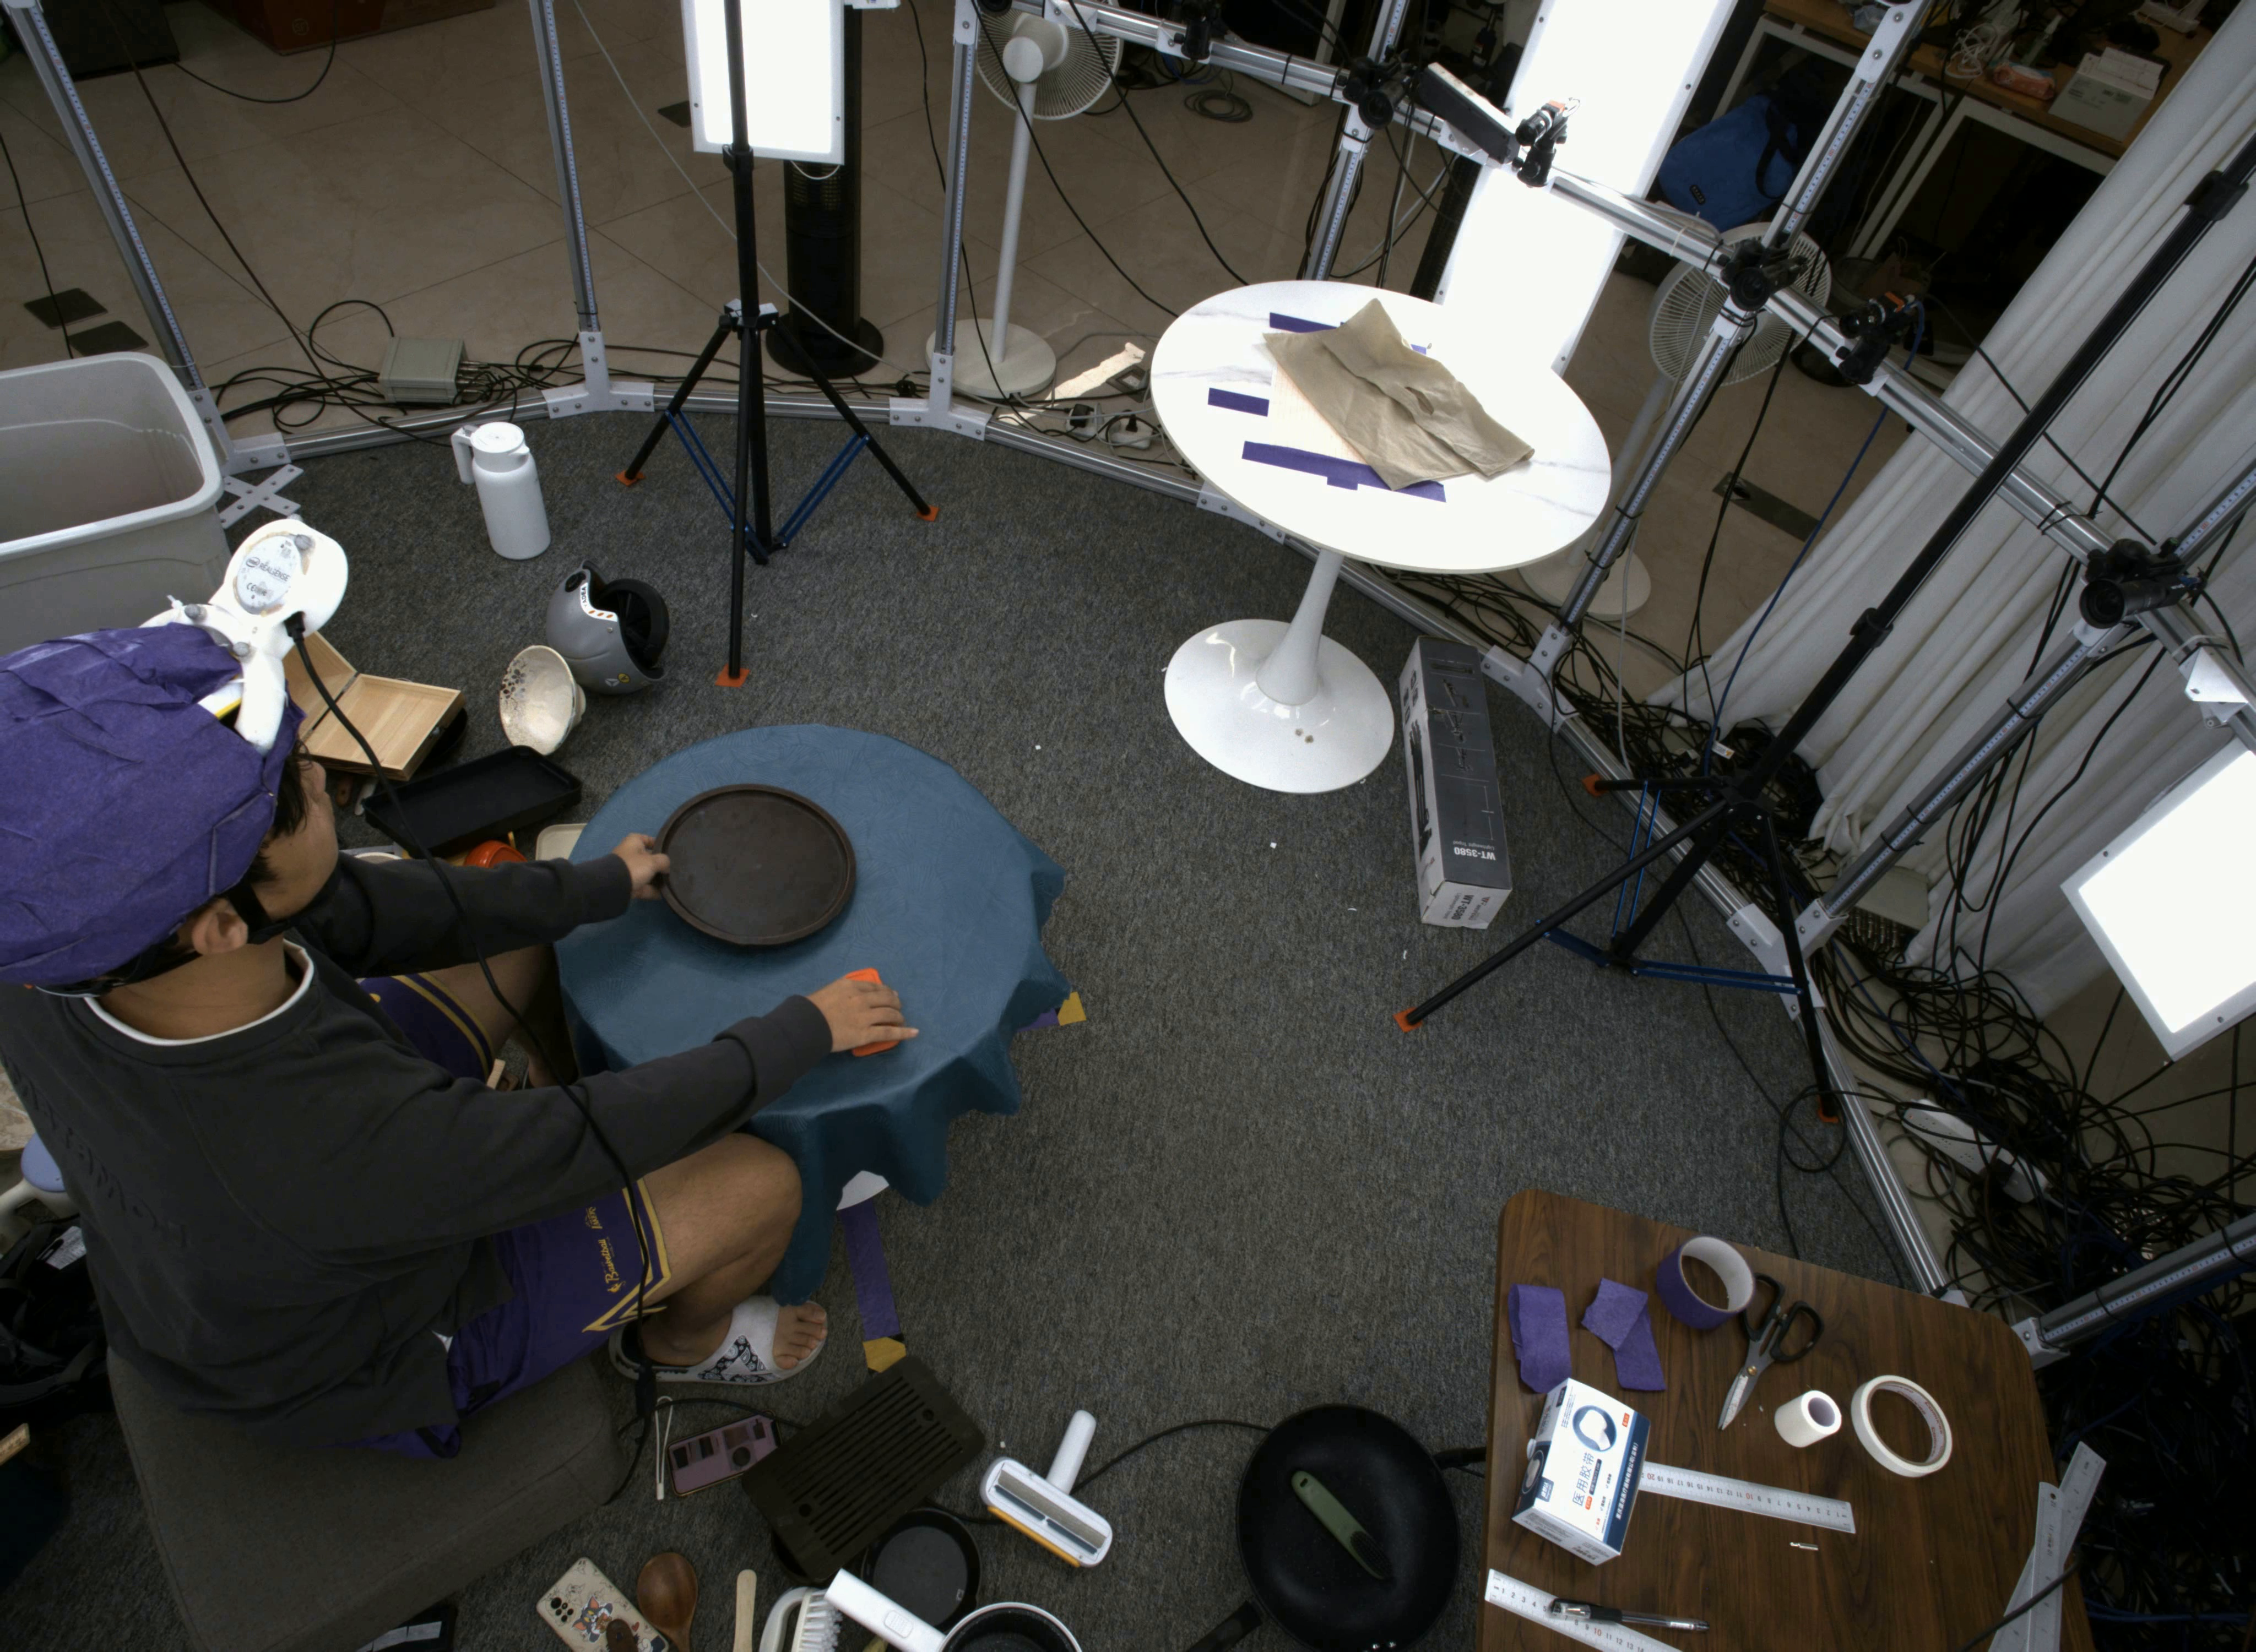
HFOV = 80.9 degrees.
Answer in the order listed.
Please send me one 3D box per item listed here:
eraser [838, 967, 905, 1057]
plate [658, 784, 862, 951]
[{"bbox_3d":[-0.311,0.221,1.572,0.059,0.023,0.105,-11,58,-25],"label":"eraser"},{"bbox_3d":[-0.467,0.049,1.647,0.256,0.029,0.250,14,52,-16],"label":"plate"}]
